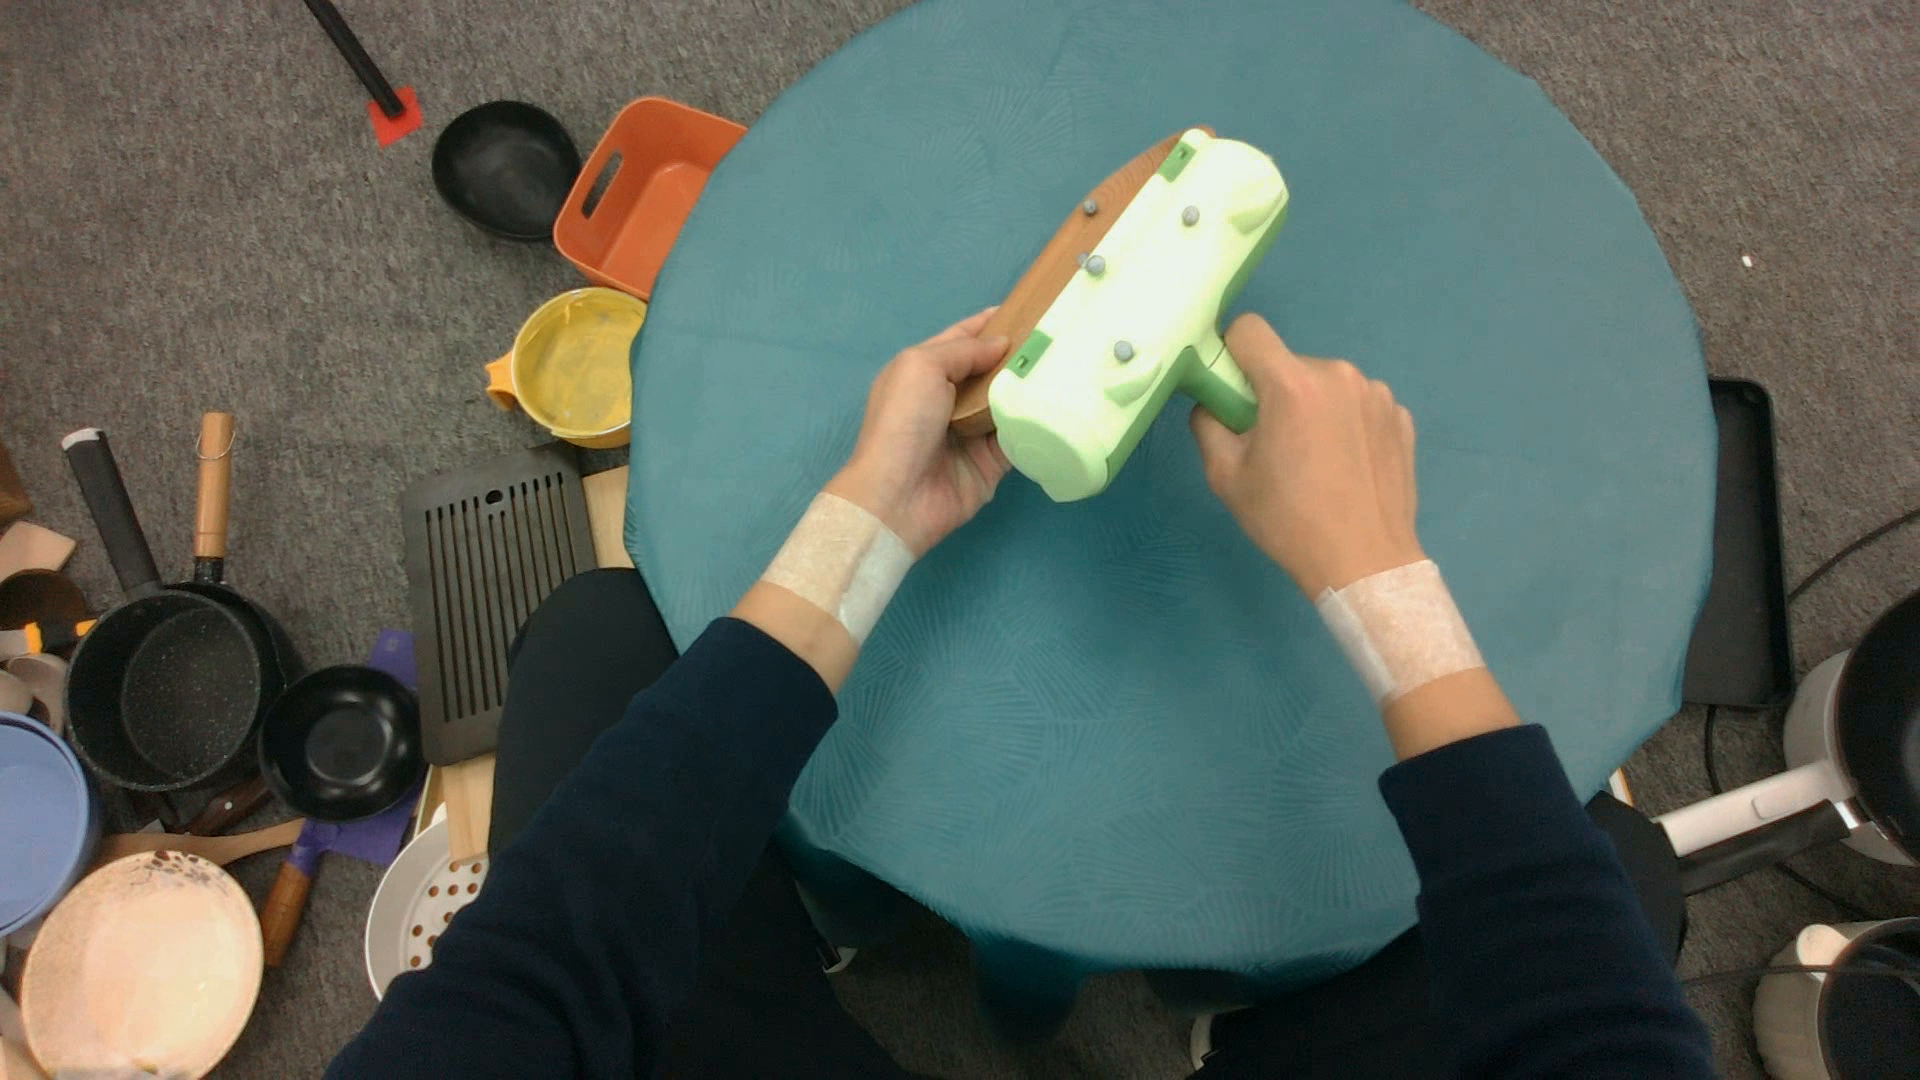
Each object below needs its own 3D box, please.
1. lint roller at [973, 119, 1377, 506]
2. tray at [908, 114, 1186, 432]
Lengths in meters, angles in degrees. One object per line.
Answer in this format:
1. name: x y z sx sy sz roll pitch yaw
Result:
1. lint roller: 0.125 -0.082 0.617 0.183 0.082 0.199 33 62 0
2. tray: 0.048 -0.139 0.699 0.020 0.101 0.232 45 58 -23
